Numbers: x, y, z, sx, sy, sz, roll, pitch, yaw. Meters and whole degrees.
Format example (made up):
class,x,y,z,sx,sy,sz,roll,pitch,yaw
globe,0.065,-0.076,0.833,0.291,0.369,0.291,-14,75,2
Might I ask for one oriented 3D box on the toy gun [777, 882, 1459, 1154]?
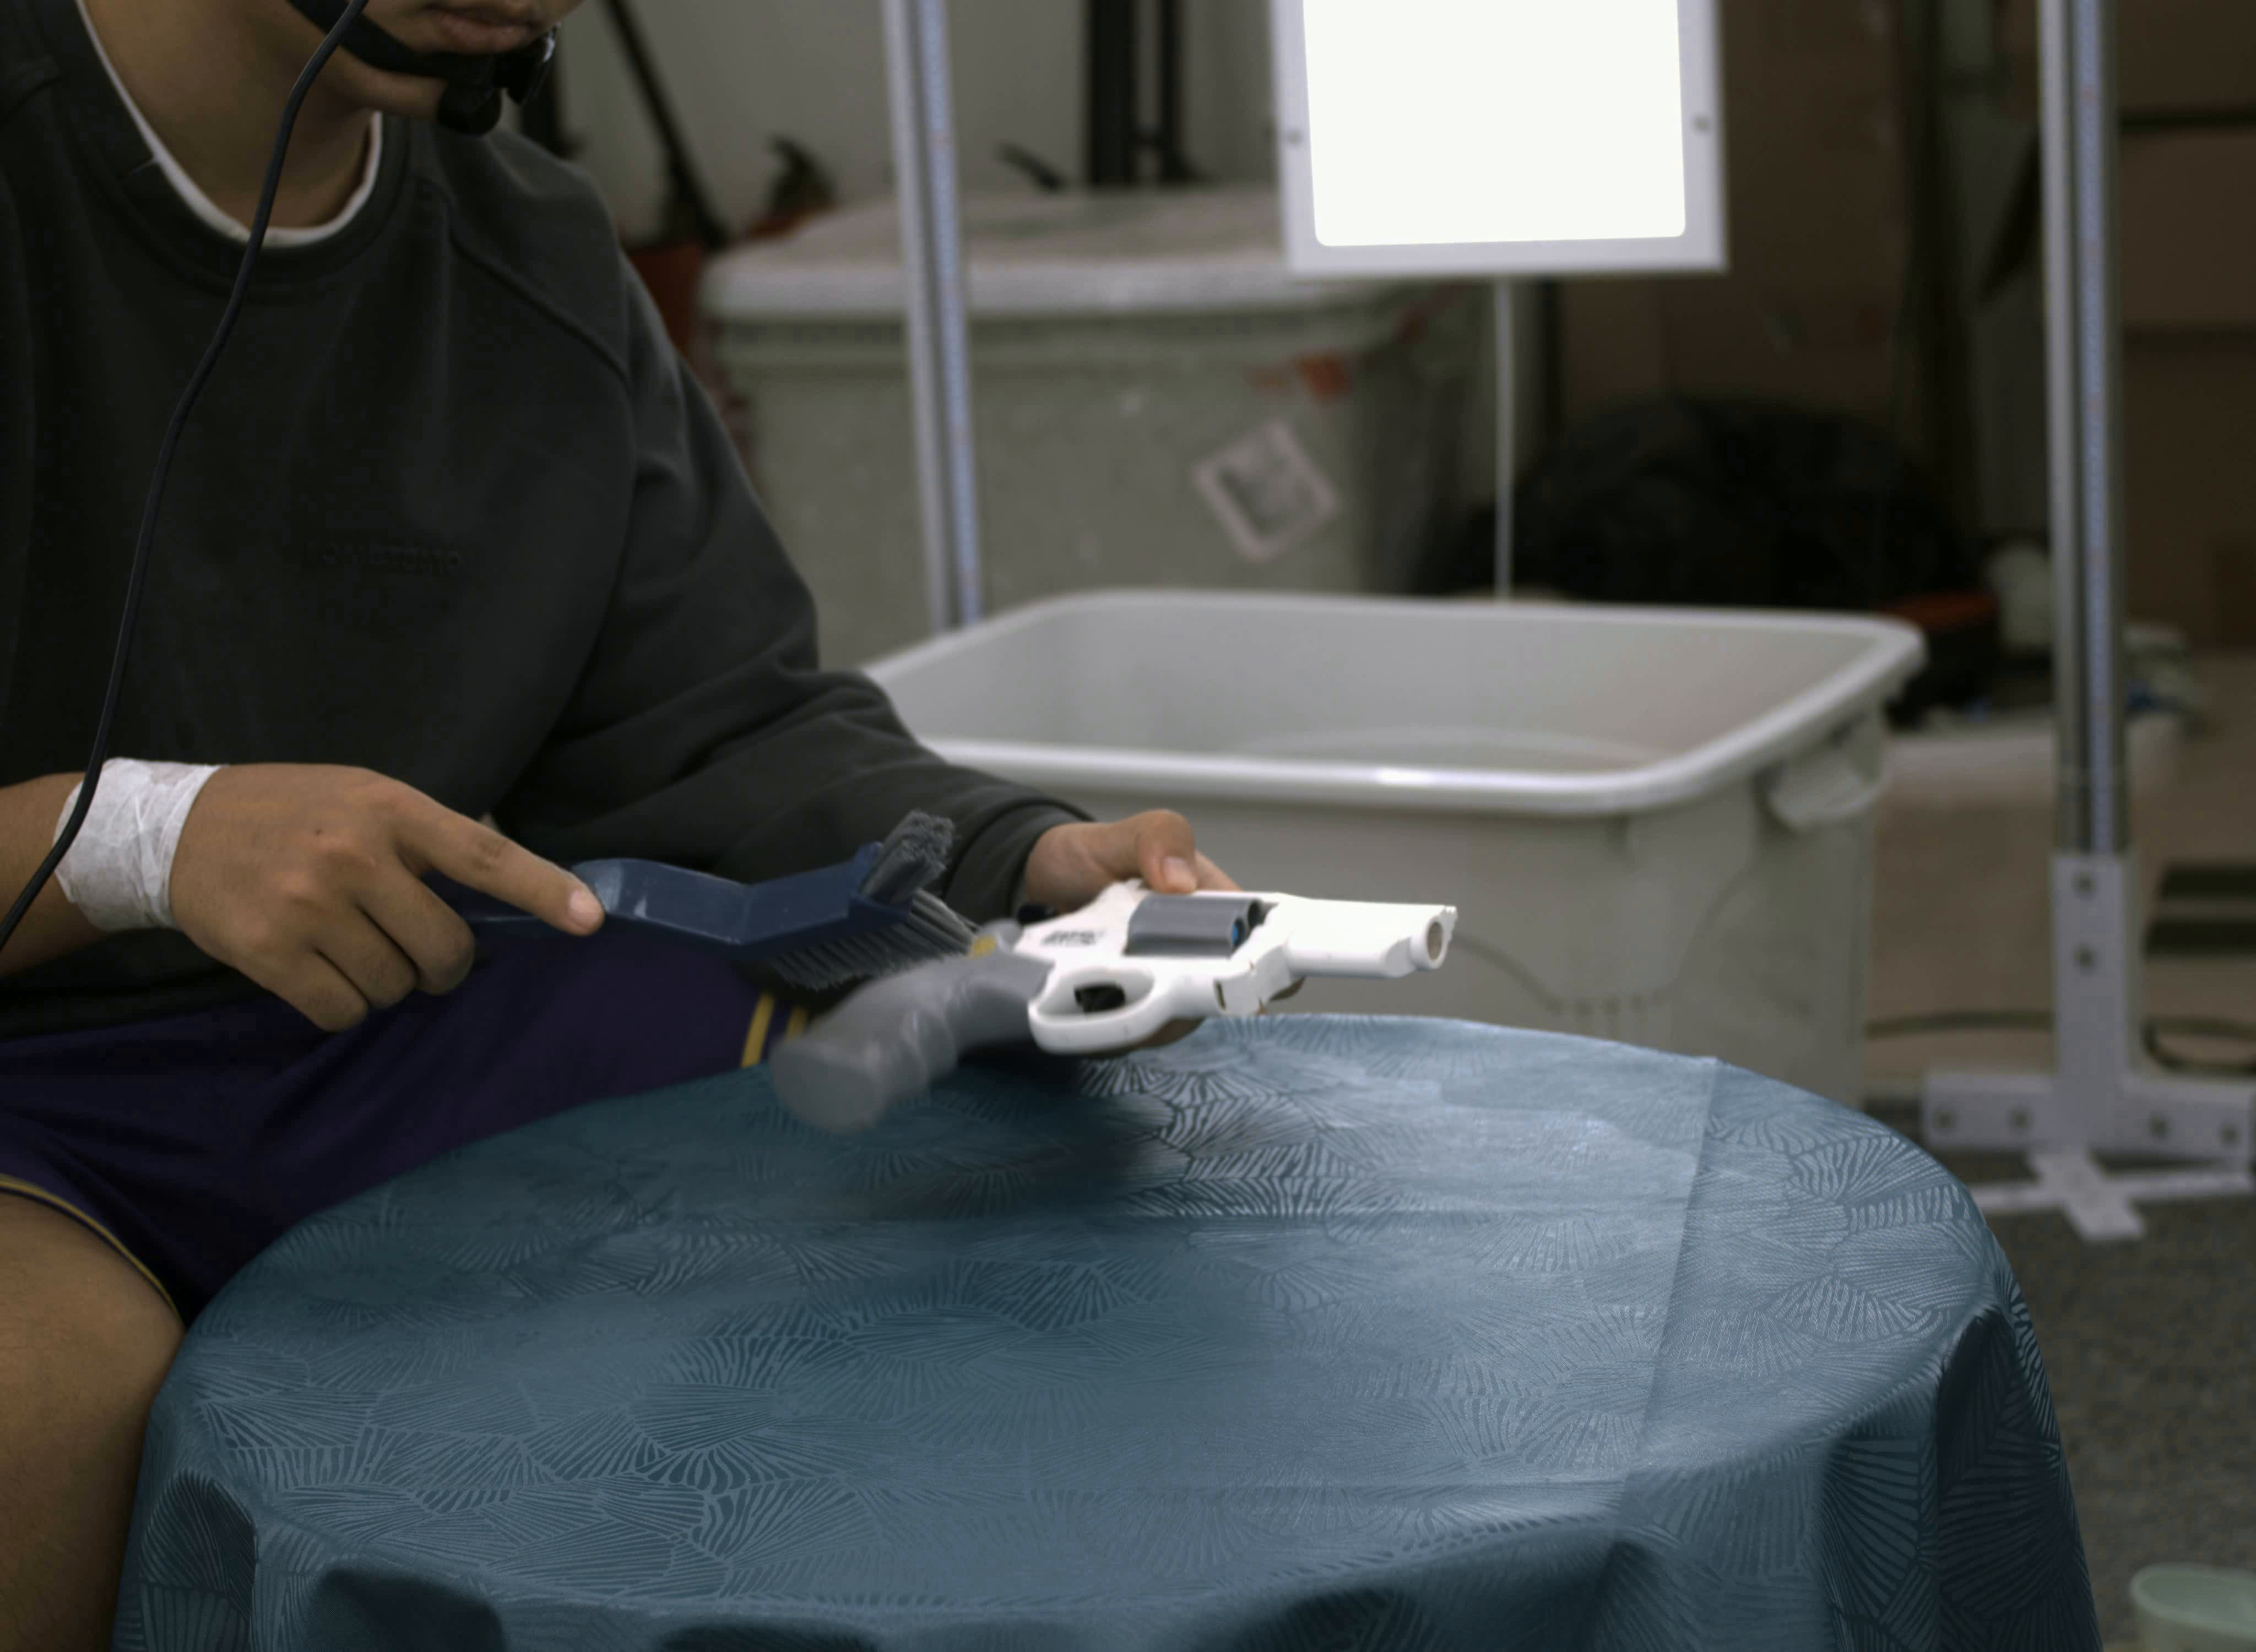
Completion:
class,x,y,z,sx,sy,sz,roll,pitch,yaw
toy gun,-0.004,0.061,1.875,0.213,0.039,0.139,-2,29,31

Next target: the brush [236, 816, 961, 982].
class,x,y,z,sx,sy,sz,roll,pitch,yaw
brush,-0.187,0.022,1.864,0.276,0.095,0.033,2,59,20
